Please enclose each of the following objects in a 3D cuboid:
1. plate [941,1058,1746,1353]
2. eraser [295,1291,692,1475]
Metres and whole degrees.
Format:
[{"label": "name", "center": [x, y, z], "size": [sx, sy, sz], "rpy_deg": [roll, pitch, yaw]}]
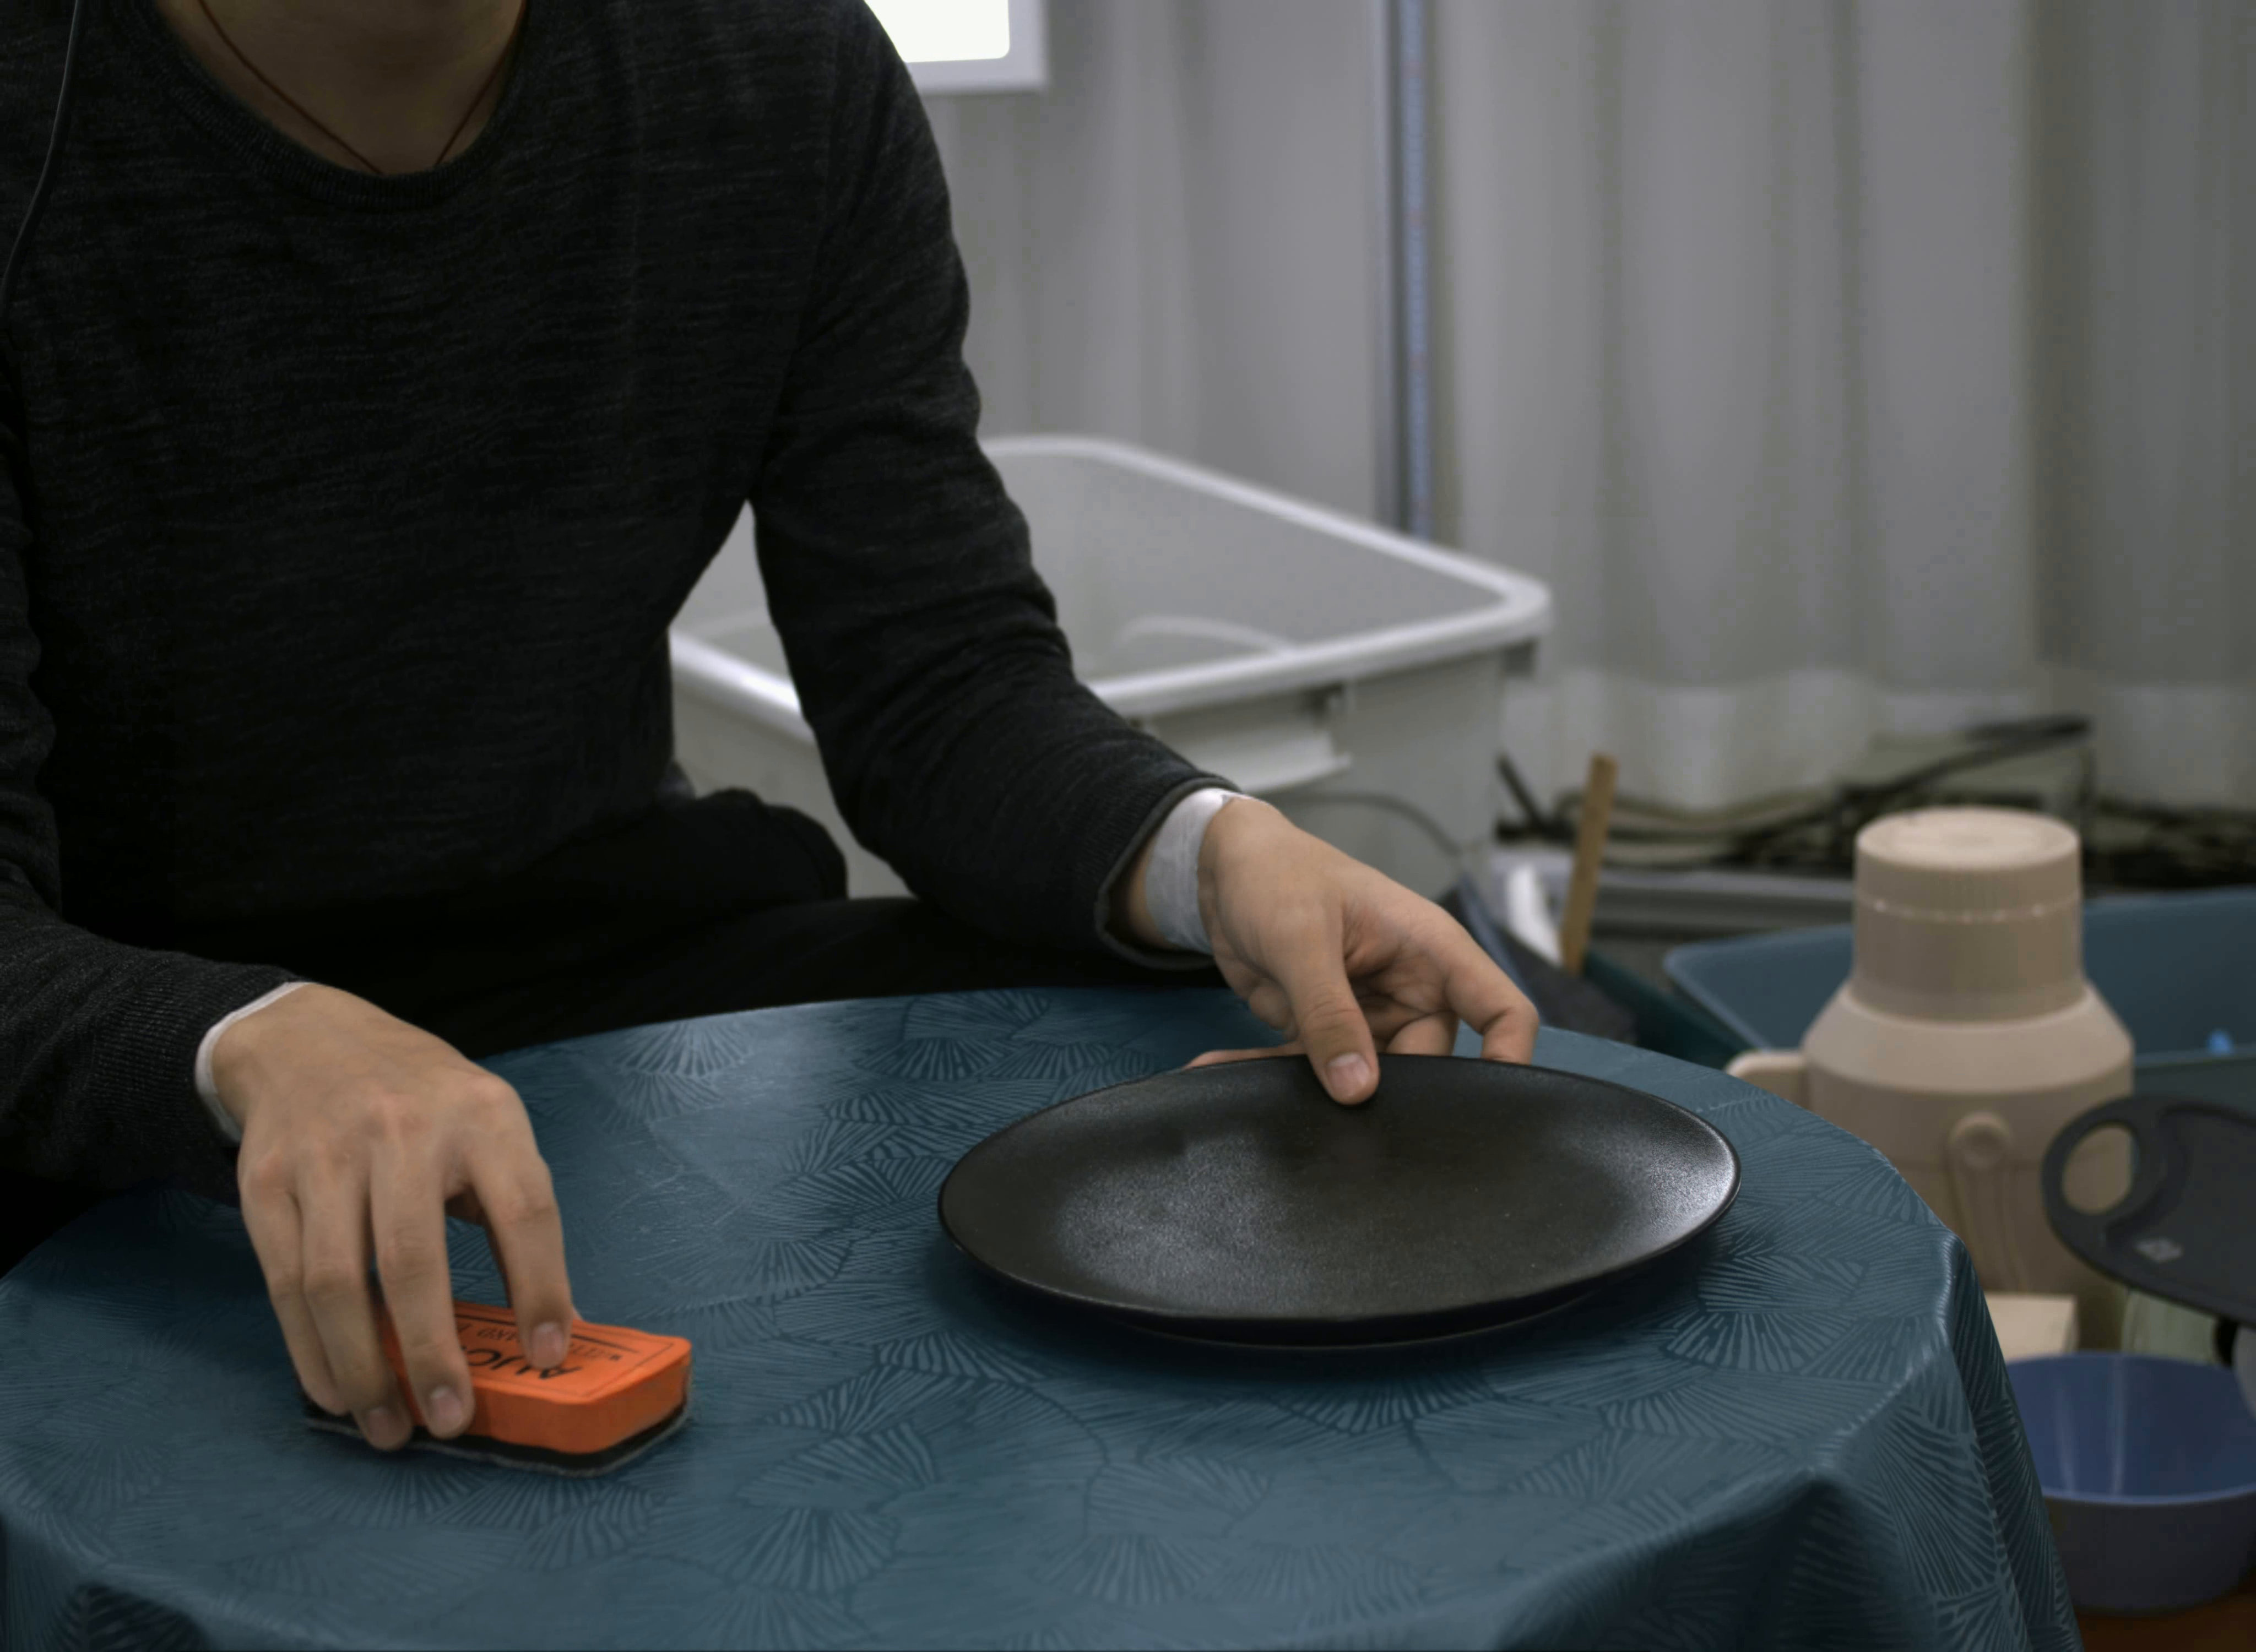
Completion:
[{"label": "plate", "center": [0.065, 0.116, 1.651], "size": [0.243, 0.023, 0.246], "rpy_deg": [-3, 15, 1]}, {"label": "eraser", "center": [-0.179, 0.157, 1.542], "size": [0.108, 0.023, 0.059], "rpy_deg": [7, 16, 32]}]
